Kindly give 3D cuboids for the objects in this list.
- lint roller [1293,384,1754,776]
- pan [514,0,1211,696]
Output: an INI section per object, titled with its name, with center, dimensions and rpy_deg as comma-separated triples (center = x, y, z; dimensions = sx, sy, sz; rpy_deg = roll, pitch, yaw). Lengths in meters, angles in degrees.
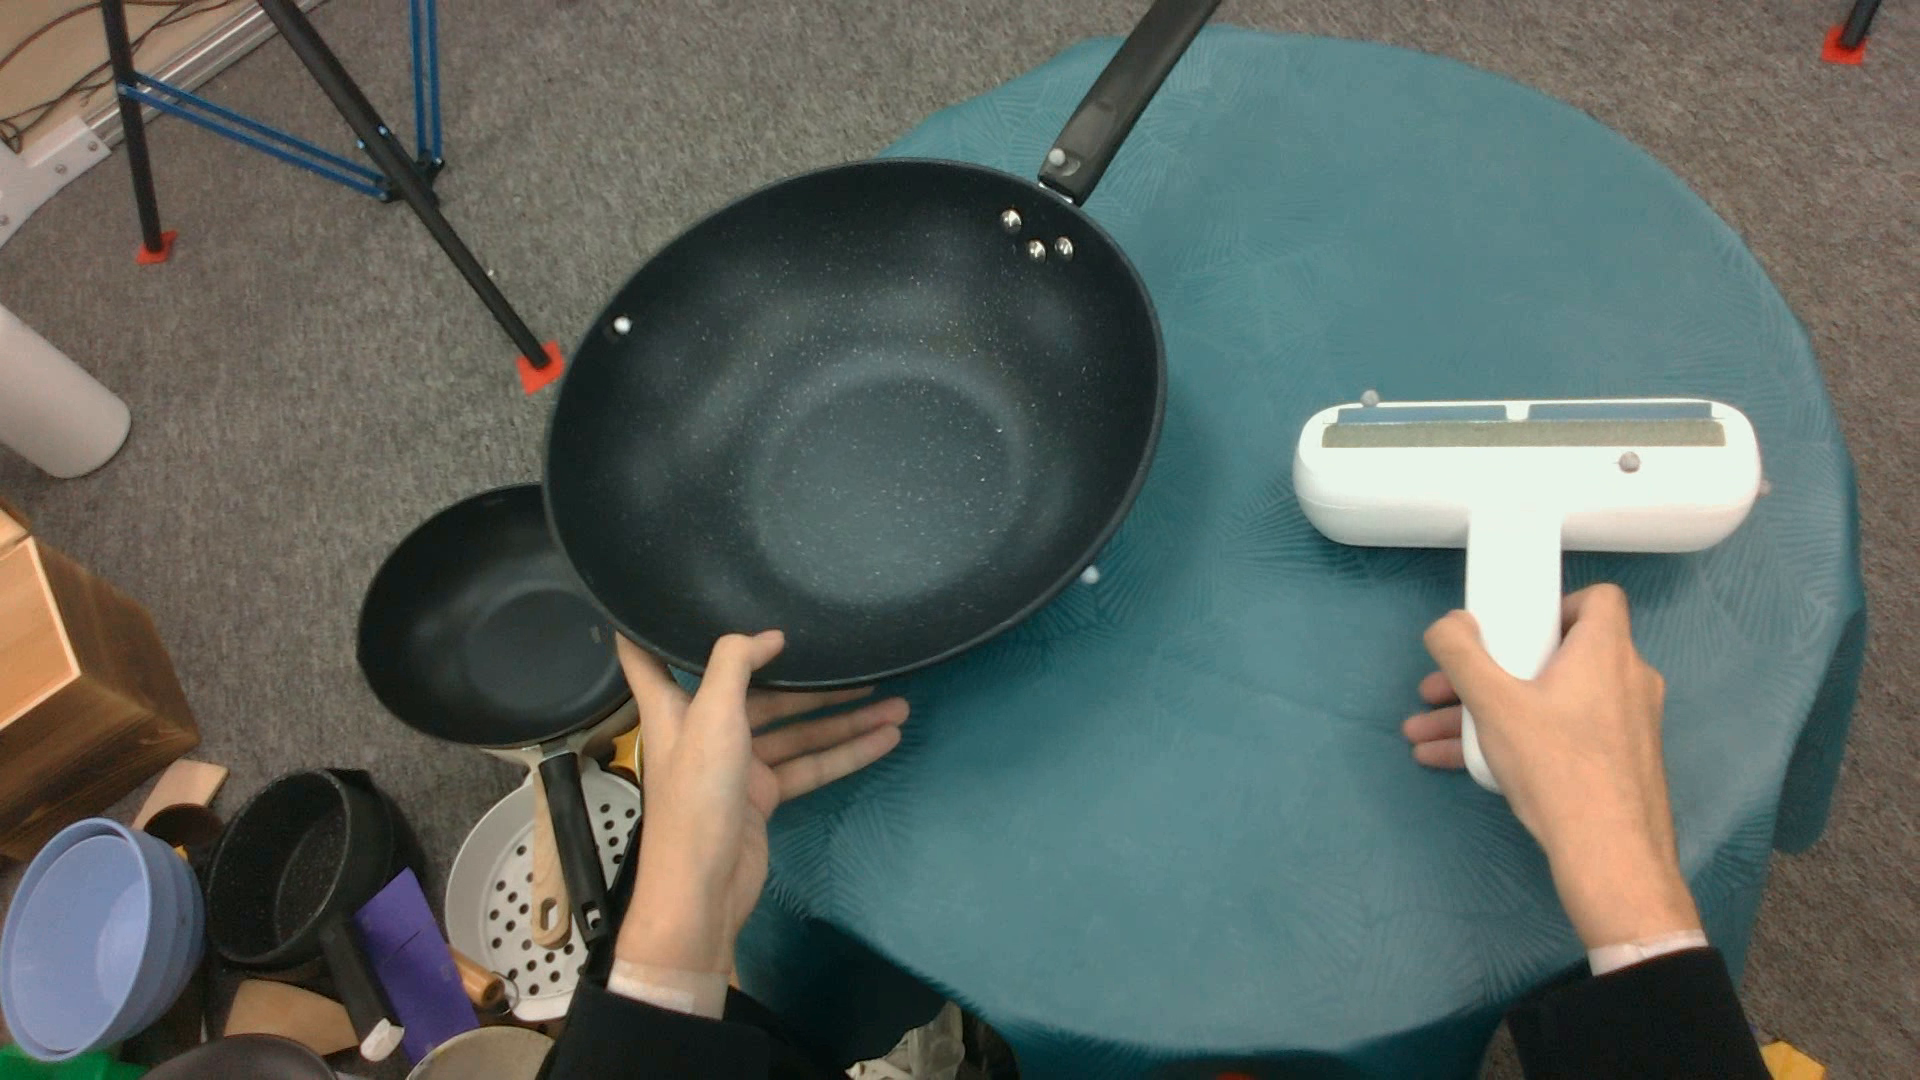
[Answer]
[lint roller]
center = 0.234, 0.009, 0.598
dimensions = 0.192, 0.074, 0.193
rpy_deg = 7, 50, 19
[pan]
center = -0.009, -0.118, 0.709
dimensions = 0.310, 0.111, 0.478
rpy_deg = 34, 72, 24
